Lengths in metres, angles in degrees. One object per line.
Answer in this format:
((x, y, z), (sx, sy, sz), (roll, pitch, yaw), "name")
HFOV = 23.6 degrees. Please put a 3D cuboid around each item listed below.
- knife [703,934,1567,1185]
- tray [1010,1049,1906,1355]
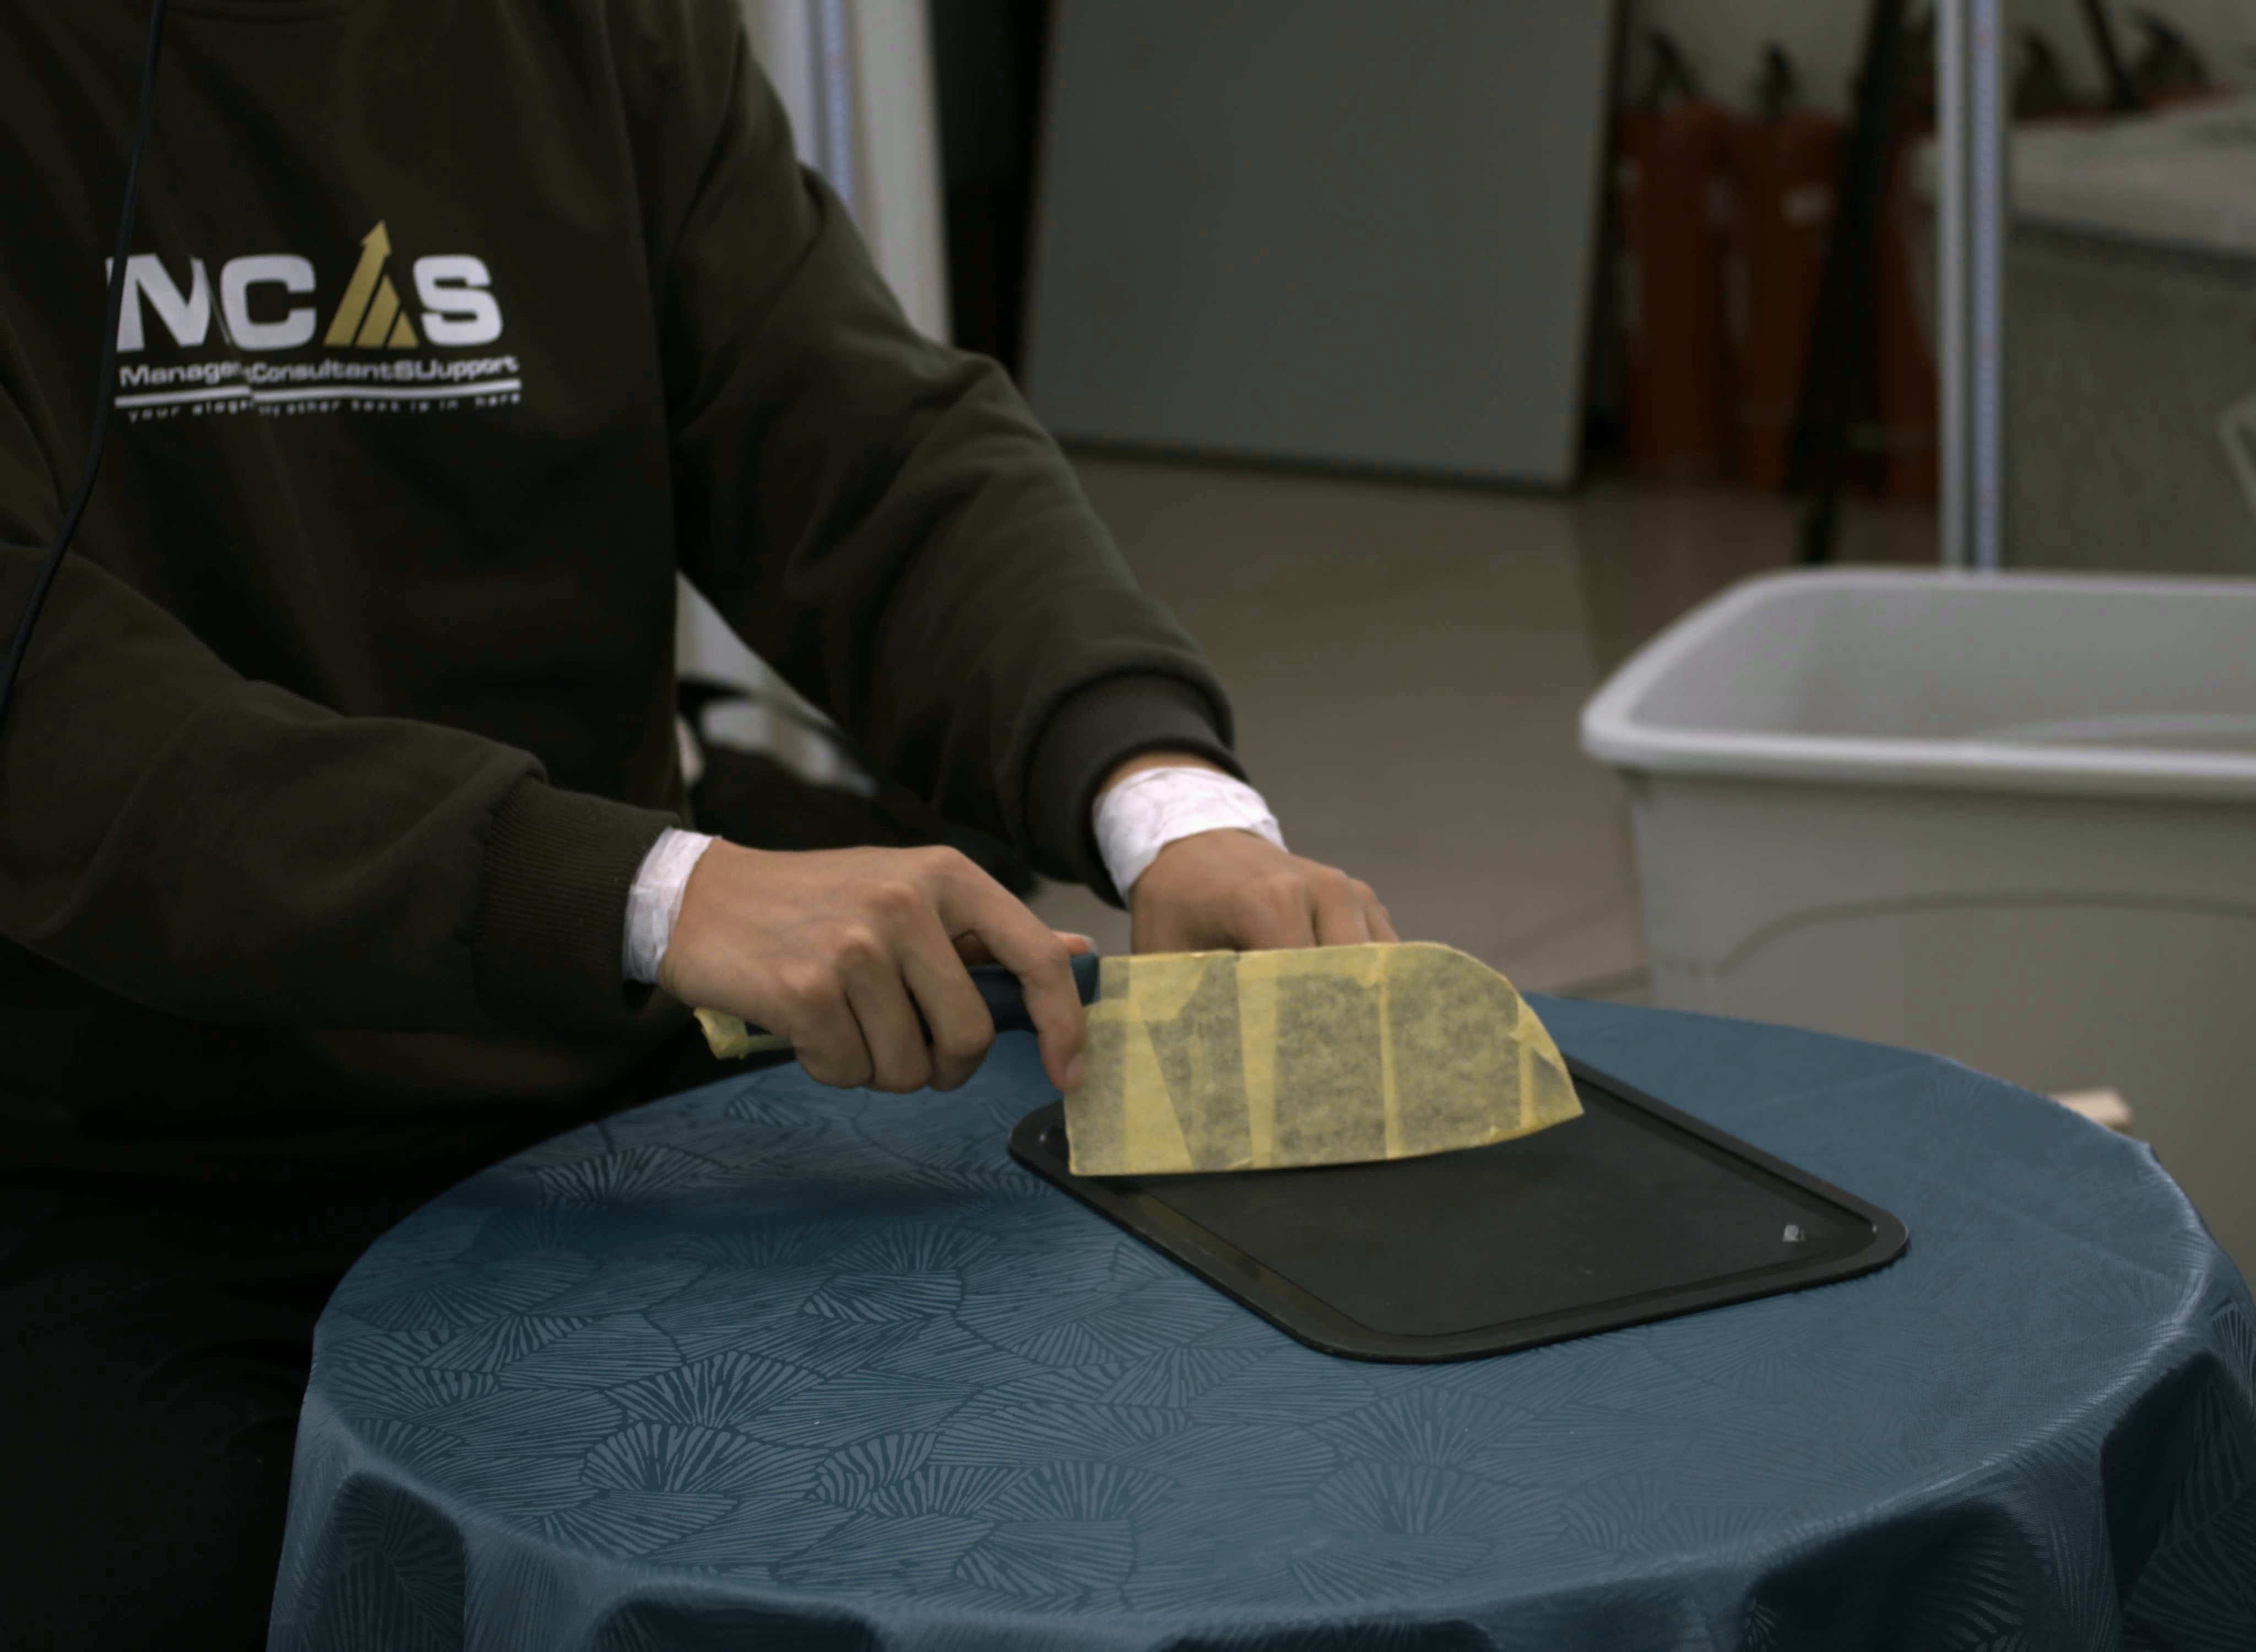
((0.003, 0.077, 1.779), (0.286, 0.082, 0.027), (-1, -8, 2), "knife")
((0.097, 0.114, 1.759), (0.206, 0.010, 0.328), (-10, 15, -22), "tray")
